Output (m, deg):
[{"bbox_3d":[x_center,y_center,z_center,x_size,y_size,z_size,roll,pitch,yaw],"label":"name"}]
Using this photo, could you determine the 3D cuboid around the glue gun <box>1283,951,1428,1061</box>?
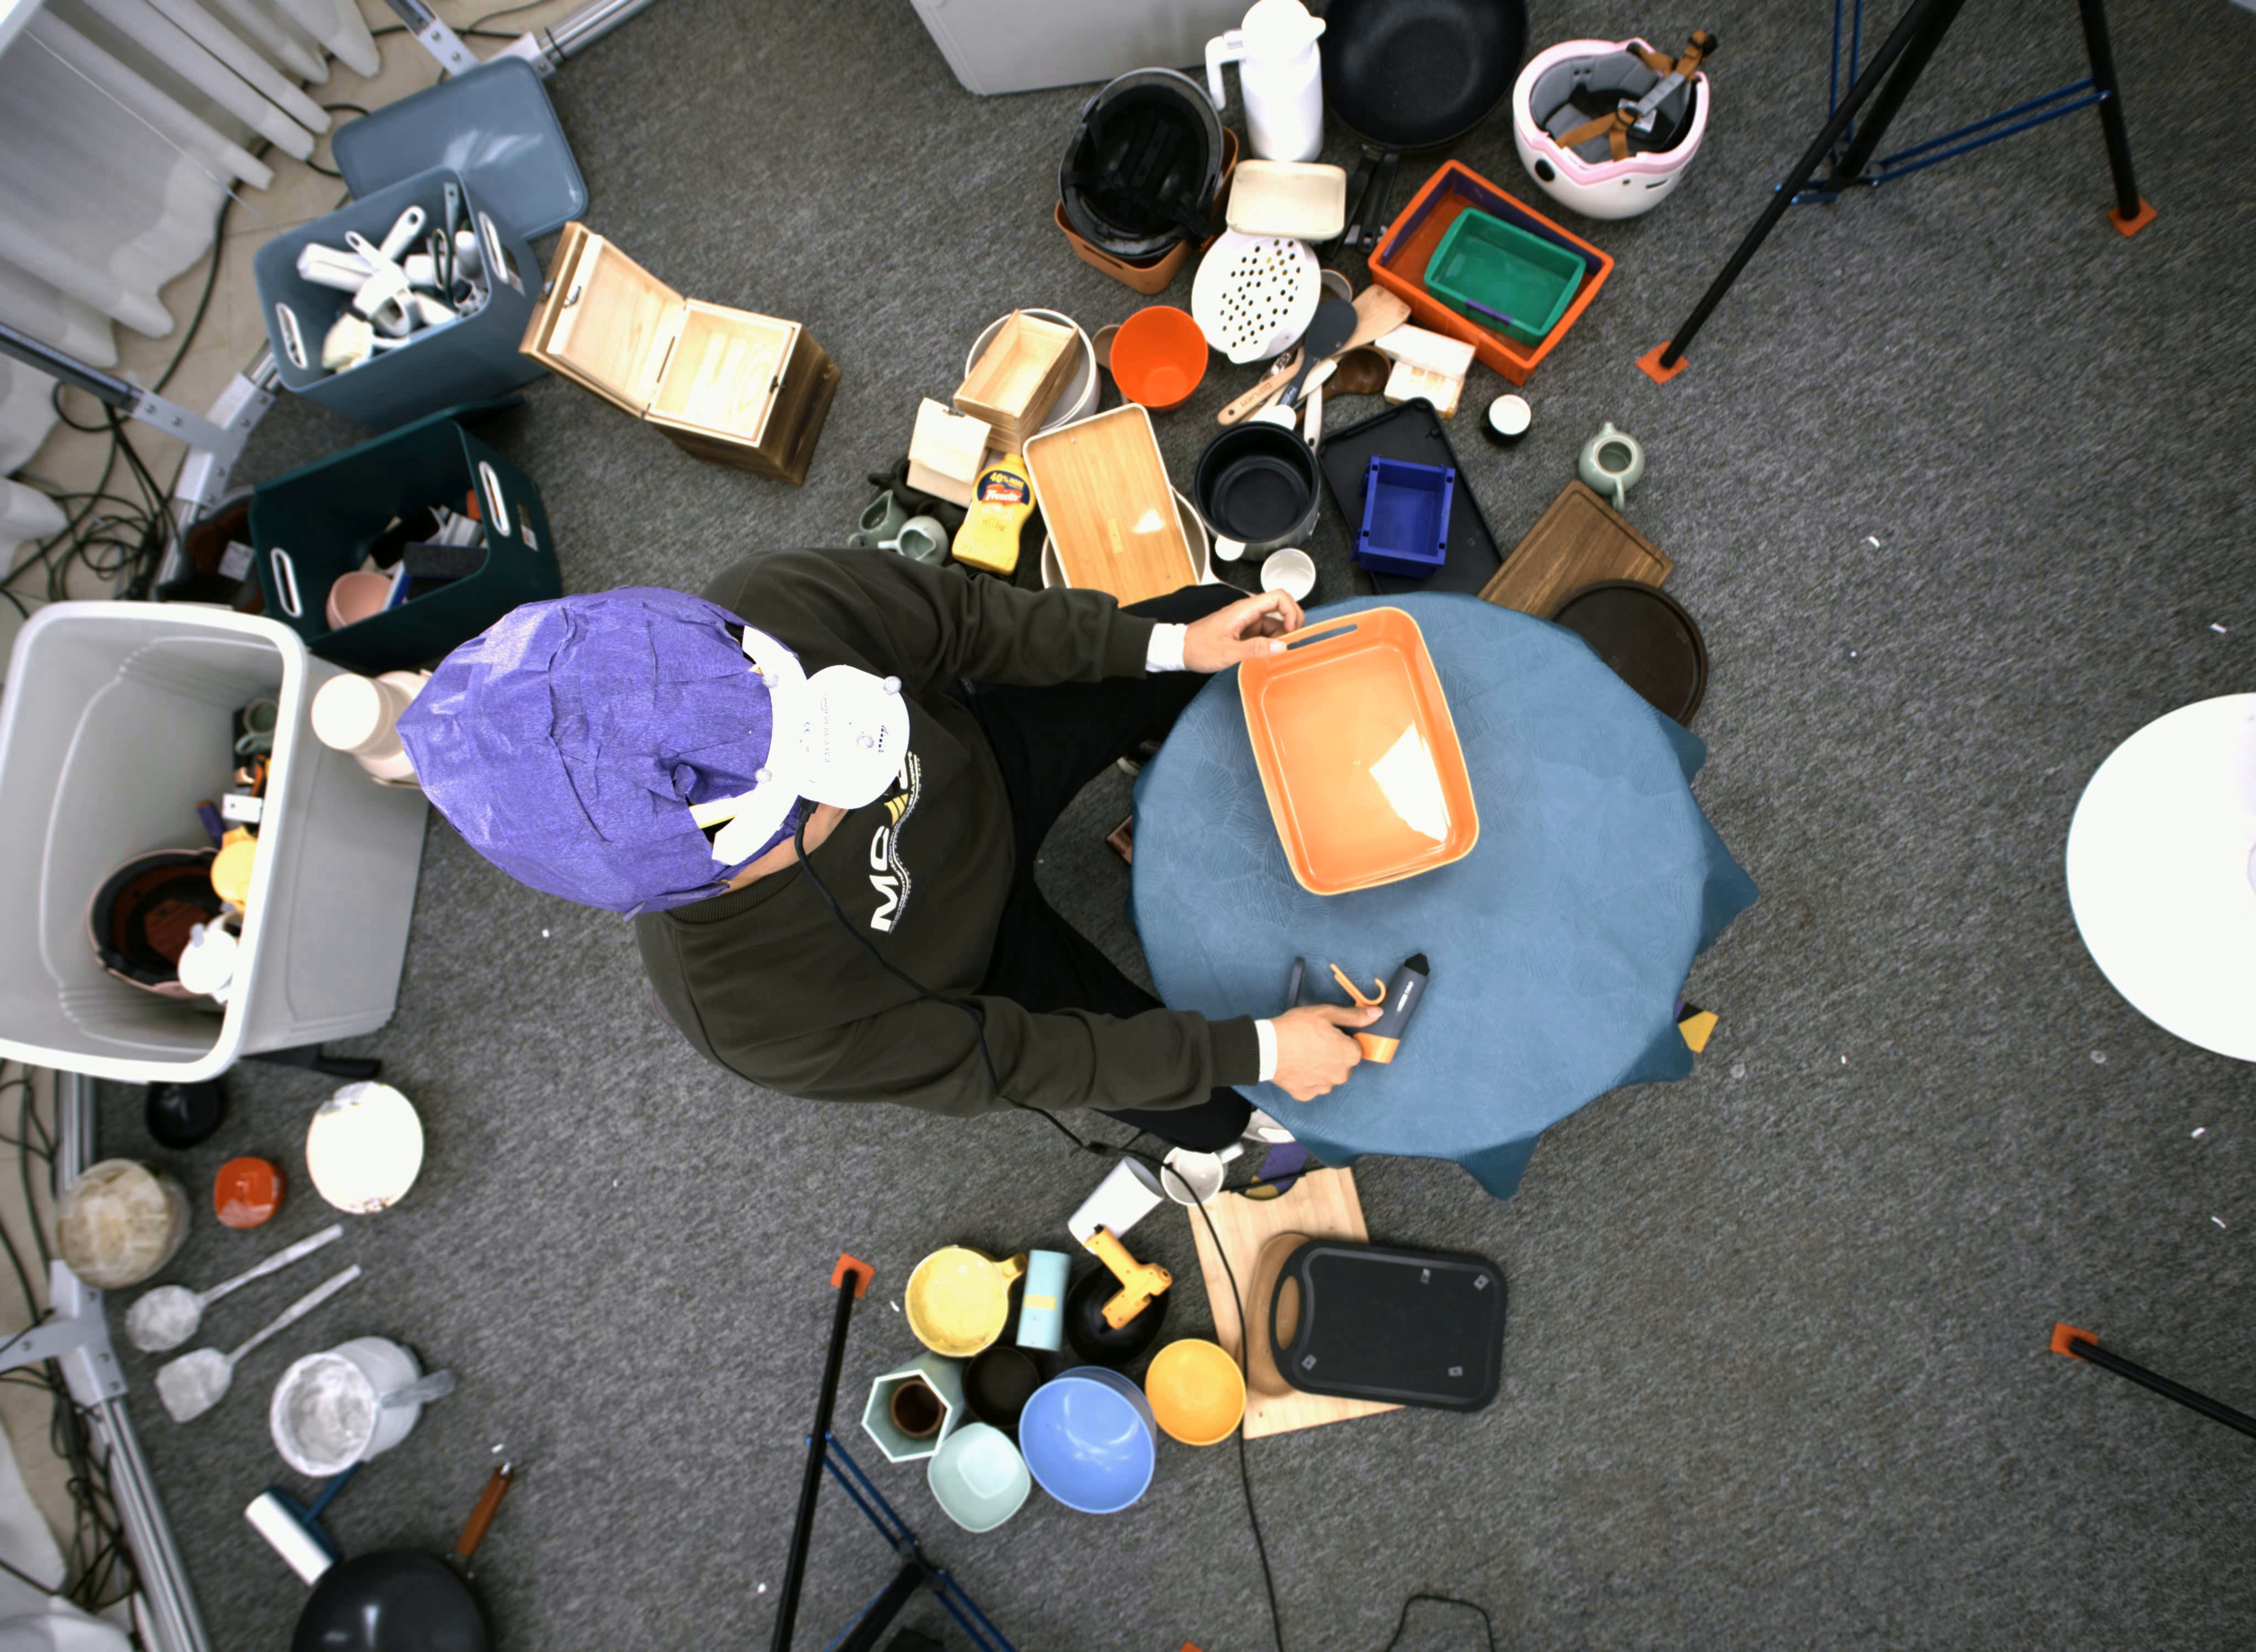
[{"bbox_3d":[0.238,0.177,1.443,0.140,0.041,0.118,9,89,8],"label":"glue gun"}]

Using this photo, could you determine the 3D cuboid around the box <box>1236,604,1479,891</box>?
[{"bbox_3d":[0.234,-0.074,1.422,0.200,0.102,0.271,-17,84,9],"label":"box"}]
